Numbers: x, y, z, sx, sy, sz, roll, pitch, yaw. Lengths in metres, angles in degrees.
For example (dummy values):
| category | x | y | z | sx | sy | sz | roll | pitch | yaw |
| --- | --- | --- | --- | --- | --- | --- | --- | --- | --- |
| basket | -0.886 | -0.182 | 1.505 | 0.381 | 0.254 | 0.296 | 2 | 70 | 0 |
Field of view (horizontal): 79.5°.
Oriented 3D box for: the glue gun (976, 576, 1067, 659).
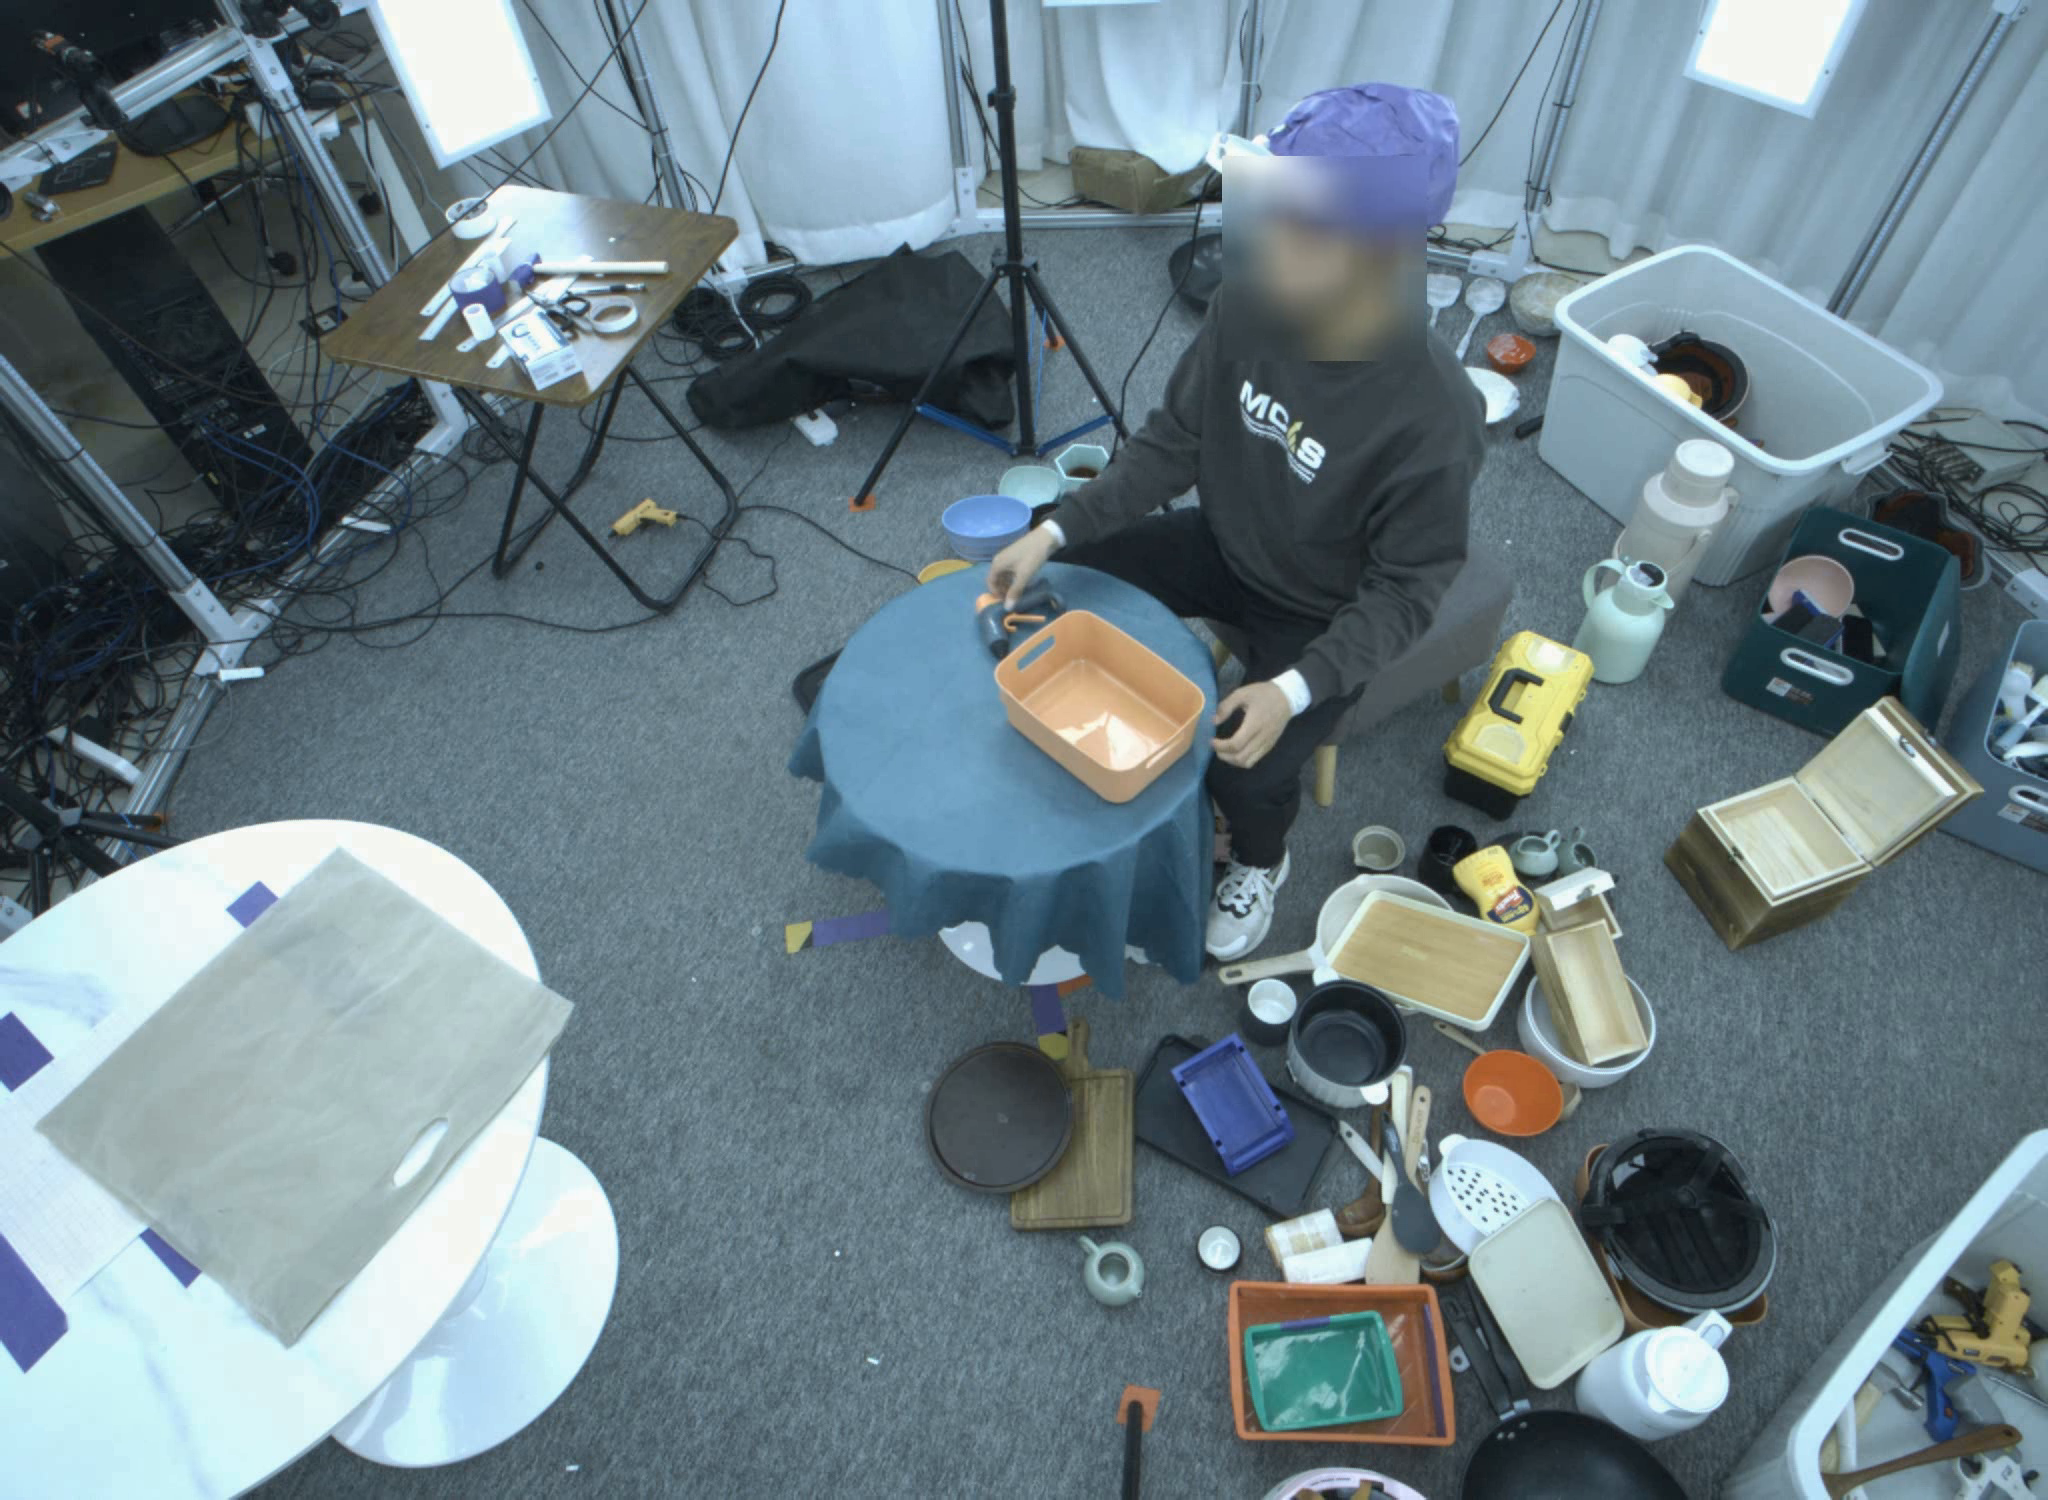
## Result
| category | x | y | z | sx | sy | sz | roll | pitch | yaw |
| --- | --- | --- | --- | --- | --- | --- | --- | --- | --- |
| glue gun | -0.008 | -0.208 | 1.917 | 0.141 | 0.041 | 0.116 | -28 | 60 | -14 |

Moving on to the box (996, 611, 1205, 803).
| category | x | y | z | sx | sy | sz | roll | pitch | yaw |
| --- | --- | --- | --- | --- | --- | --- | --- | --- | --- |
| box | 0.109 | -0.060 | 1.761 | 0.201 | 0.104 | 0.268 | -39 | 61 | -23 |
